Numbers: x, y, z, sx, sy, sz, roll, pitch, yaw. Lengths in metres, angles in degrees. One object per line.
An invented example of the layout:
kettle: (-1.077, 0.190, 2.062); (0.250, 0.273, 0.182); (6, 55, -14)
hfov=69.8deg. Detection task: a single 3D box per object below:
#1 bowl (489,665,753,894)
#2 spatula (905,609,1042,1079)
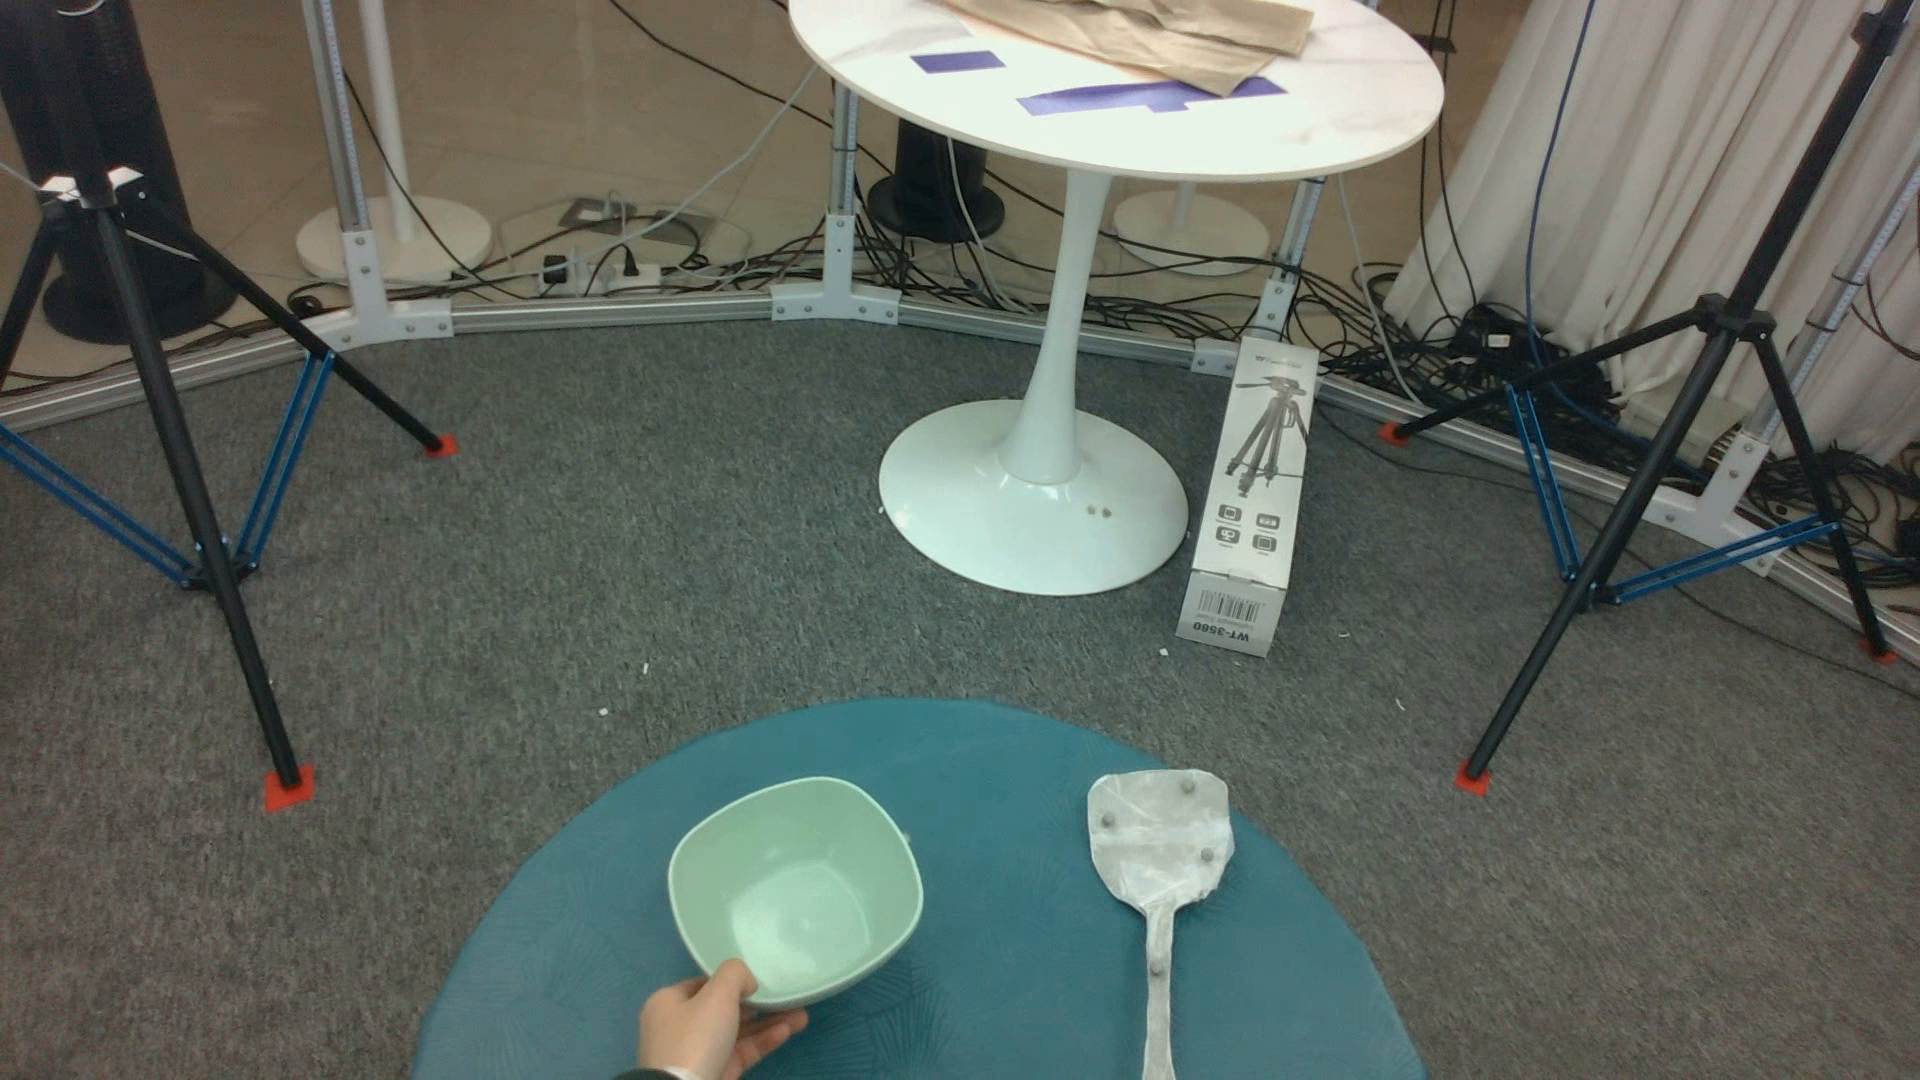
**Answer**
bowl: (-0.198, 0.150, 0.817); (0.151, 0.058, 0.152); (3, 47, -3)
spatula: (0.014, 0.181, 0.862); (0.098, 0.044, 0.366); (-5, 38, 3)
